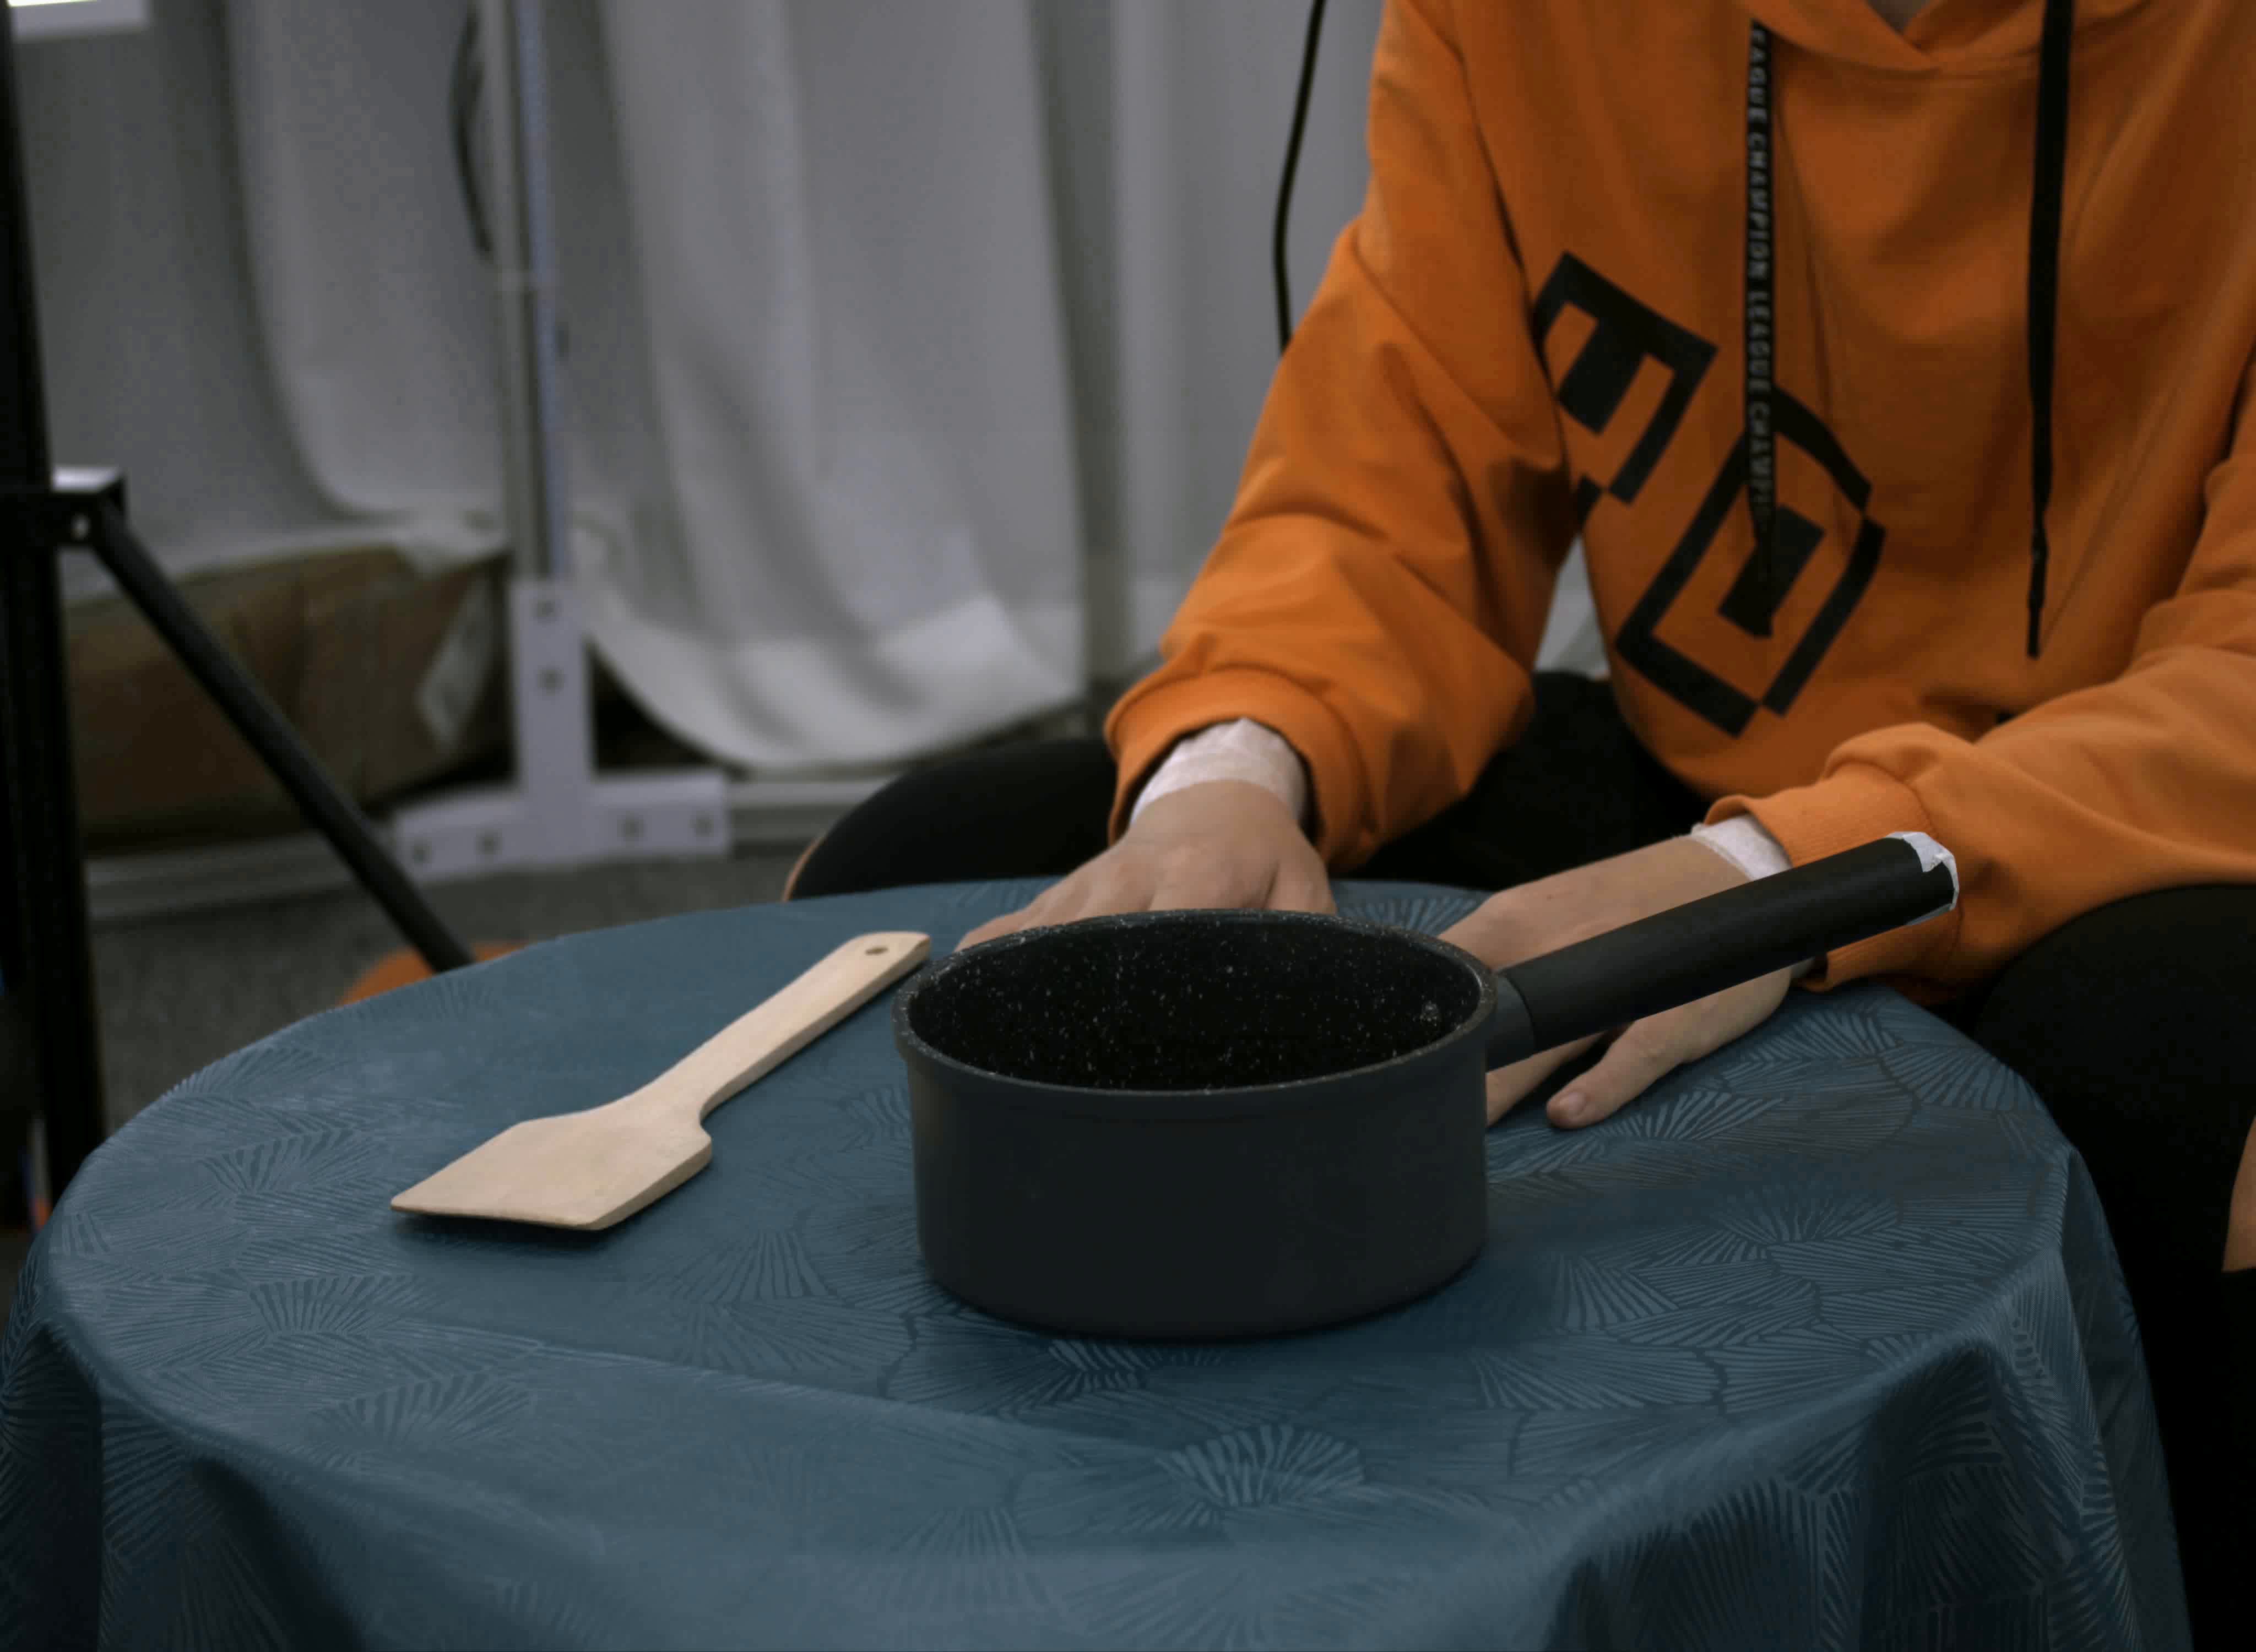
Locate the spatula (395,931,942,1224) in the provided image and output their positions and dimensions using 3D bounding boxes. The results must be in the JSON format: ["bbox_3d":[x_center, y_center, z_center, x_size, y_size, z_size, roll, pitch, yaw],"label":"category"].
[{"bbox_3d":[-0.130,0.077,1.674,0.073,0.010,0.289,1,16,24],"label":"spatula"}]

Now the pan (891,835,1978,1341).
[{"bbox_3d":[0.094,0.070,1.523,0.323,0.086,0.175,-9,18,-17],"label":"pan"}]
